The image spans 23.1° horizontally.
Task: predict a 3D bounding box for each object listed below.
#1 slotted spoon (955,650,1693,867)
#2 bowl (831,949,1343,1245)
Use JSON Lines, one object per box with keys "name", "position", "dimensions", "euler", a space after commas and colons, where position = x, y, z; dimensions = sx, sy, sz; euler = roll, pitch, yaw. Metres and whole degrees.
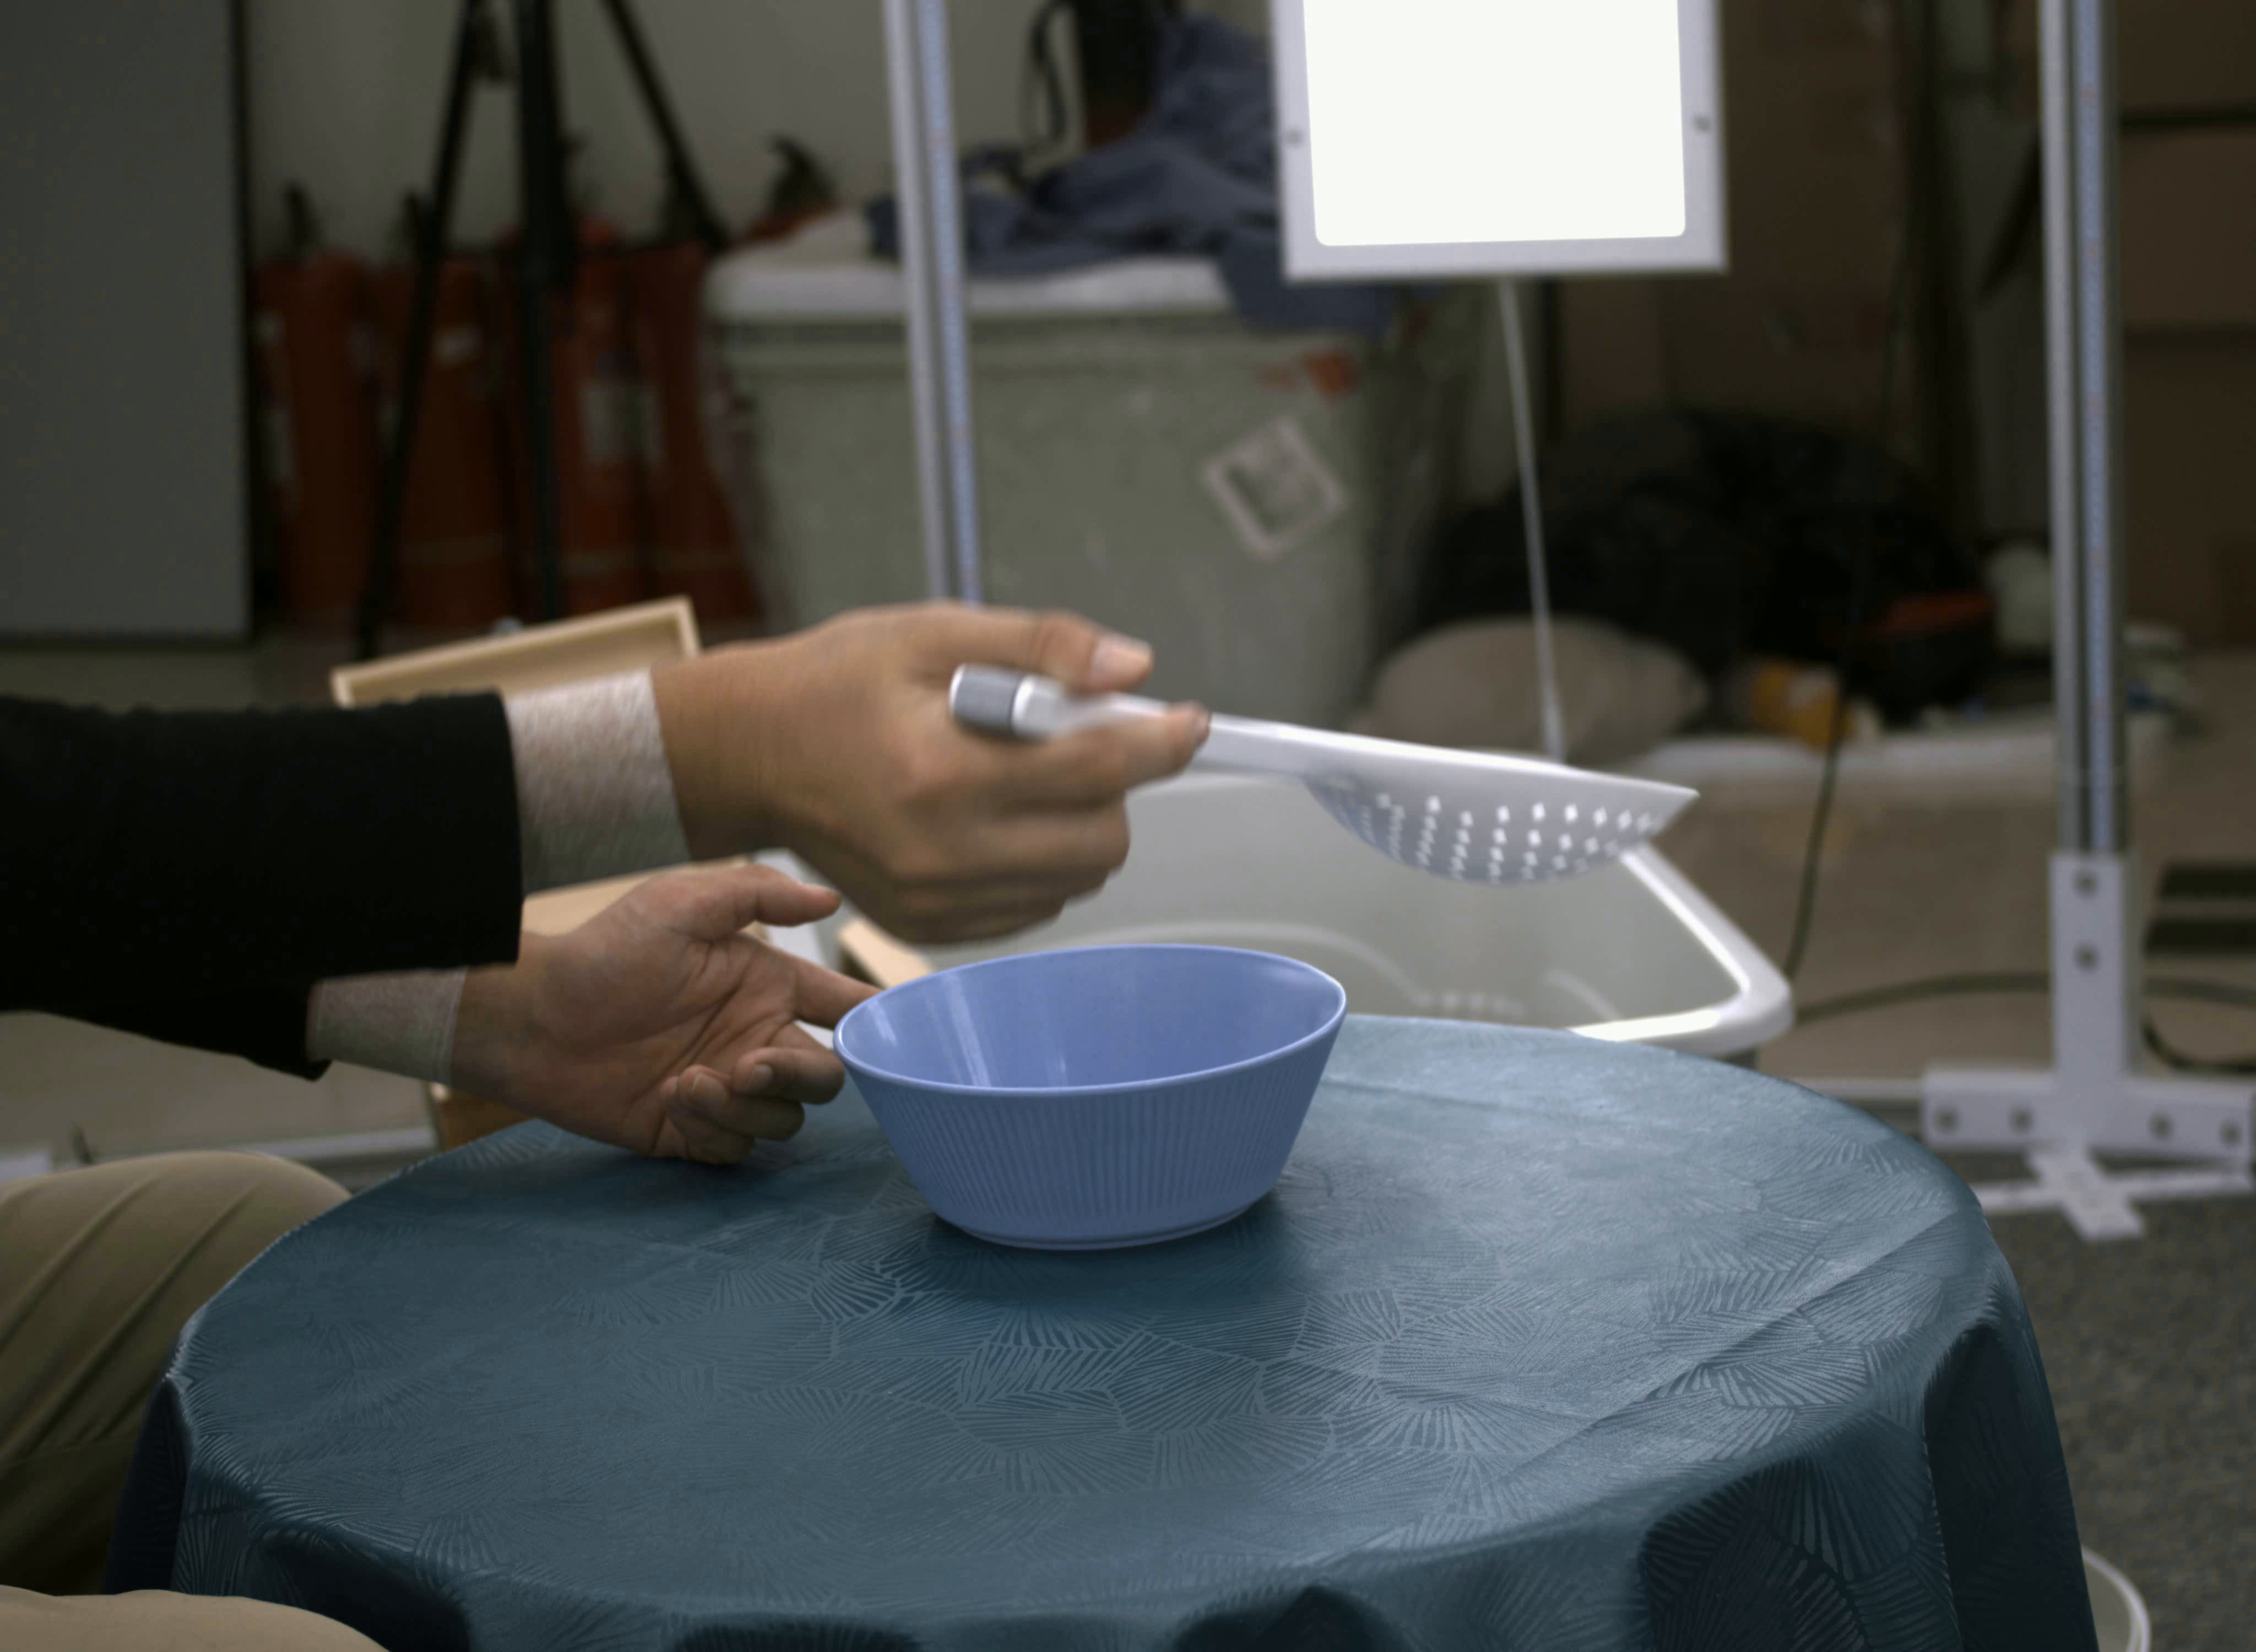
{"name": "slotted spoon", "position": [0.054, -0.027, 1.643], "dimensions": [0.138, 0.046, 0.342], "euler": [11, -3, 33]}
{"name": "bowl", "position": [-0.011, 0.095, 1.882], "dimensions": [0.175, 0.070, 0.176], "euler": [-6, 13, 0]}
